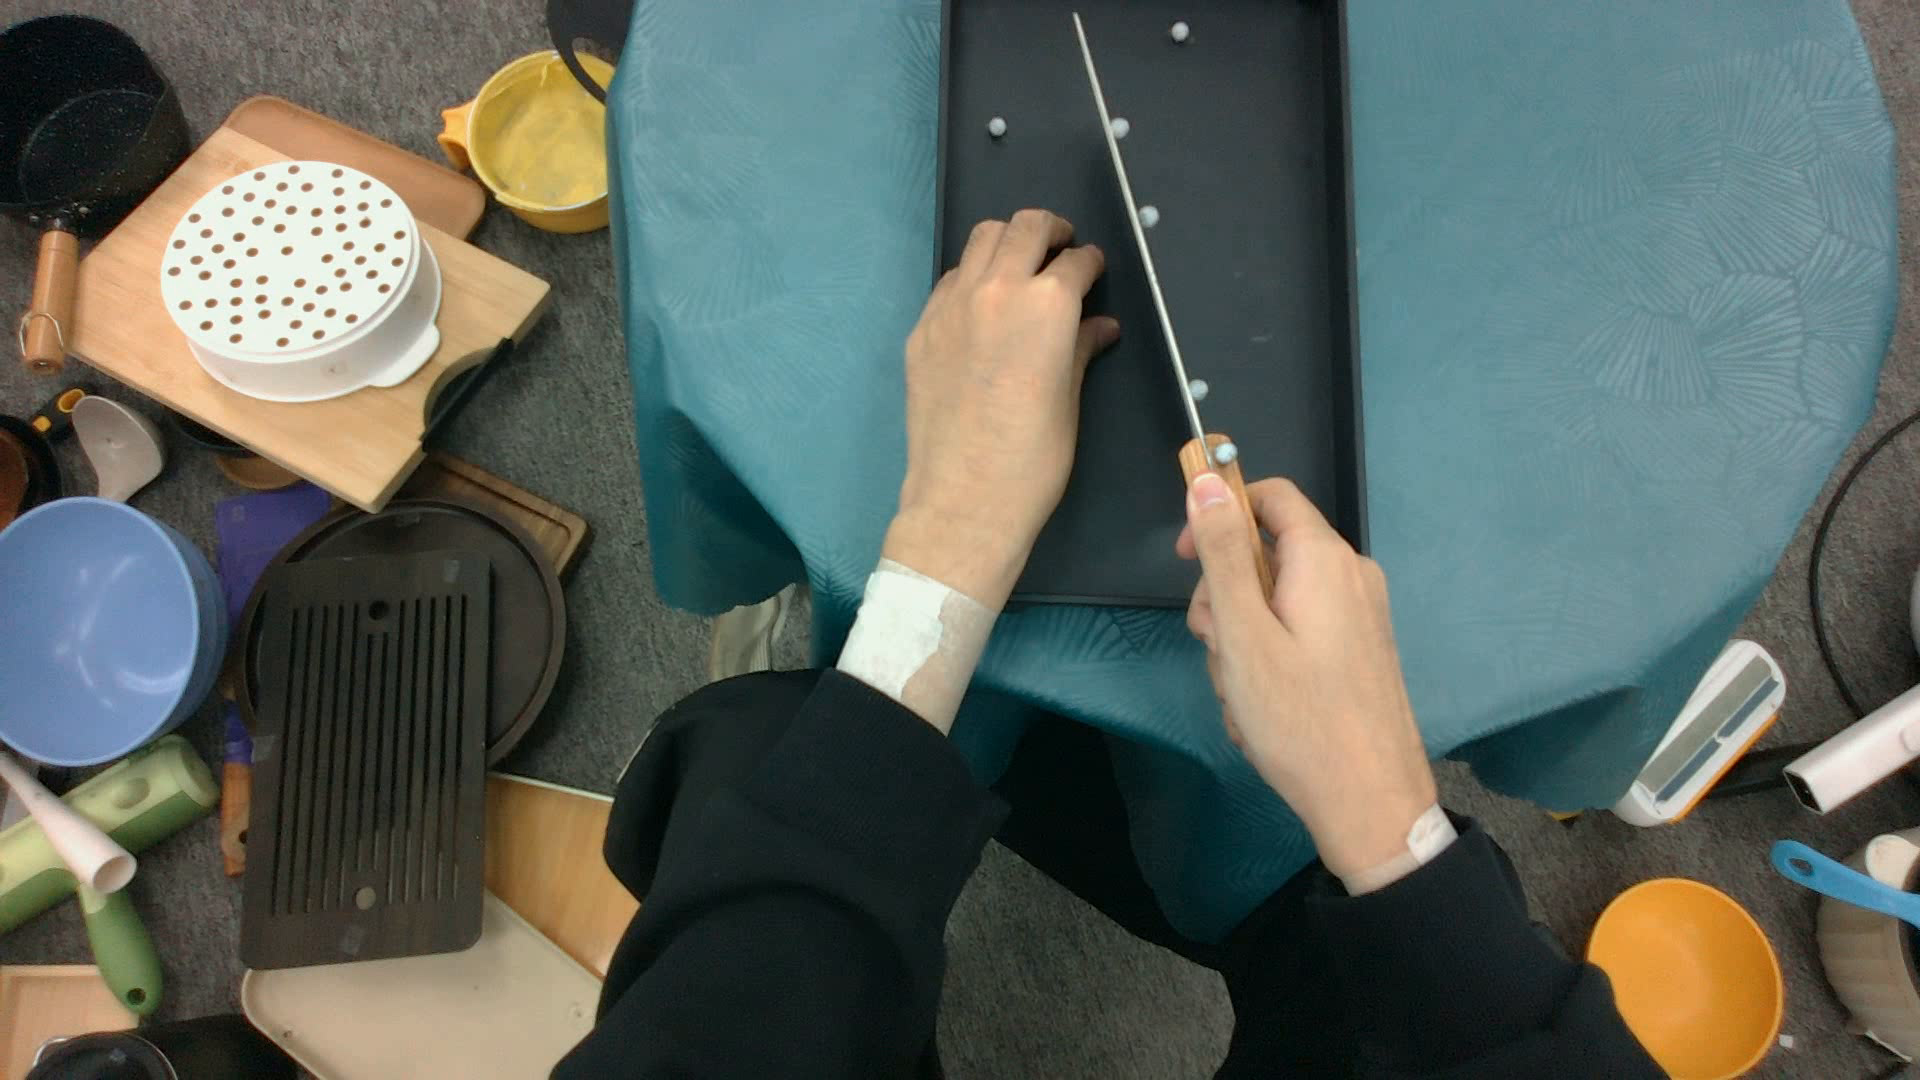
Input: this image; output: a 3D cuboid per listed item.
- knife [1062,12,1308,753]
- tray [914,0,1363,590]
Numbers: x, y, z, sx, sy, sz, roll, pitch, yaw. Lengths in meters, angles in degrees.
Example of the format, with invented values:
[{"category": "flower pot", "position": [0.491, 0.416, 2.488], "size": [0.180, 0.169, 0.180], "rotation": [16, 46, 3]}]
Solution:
[{"category": "knife", "position": [0.085, -0.063, 0.554], "size": [0.021, 0.093, 0.306], "rotation": [-16, 76, 8]}, {"category": "tray", "position": [0.071, -0.134, 0.608], "size": [0.184, 0.037, 0.318], "rotation": [0, 75, -3]}]
